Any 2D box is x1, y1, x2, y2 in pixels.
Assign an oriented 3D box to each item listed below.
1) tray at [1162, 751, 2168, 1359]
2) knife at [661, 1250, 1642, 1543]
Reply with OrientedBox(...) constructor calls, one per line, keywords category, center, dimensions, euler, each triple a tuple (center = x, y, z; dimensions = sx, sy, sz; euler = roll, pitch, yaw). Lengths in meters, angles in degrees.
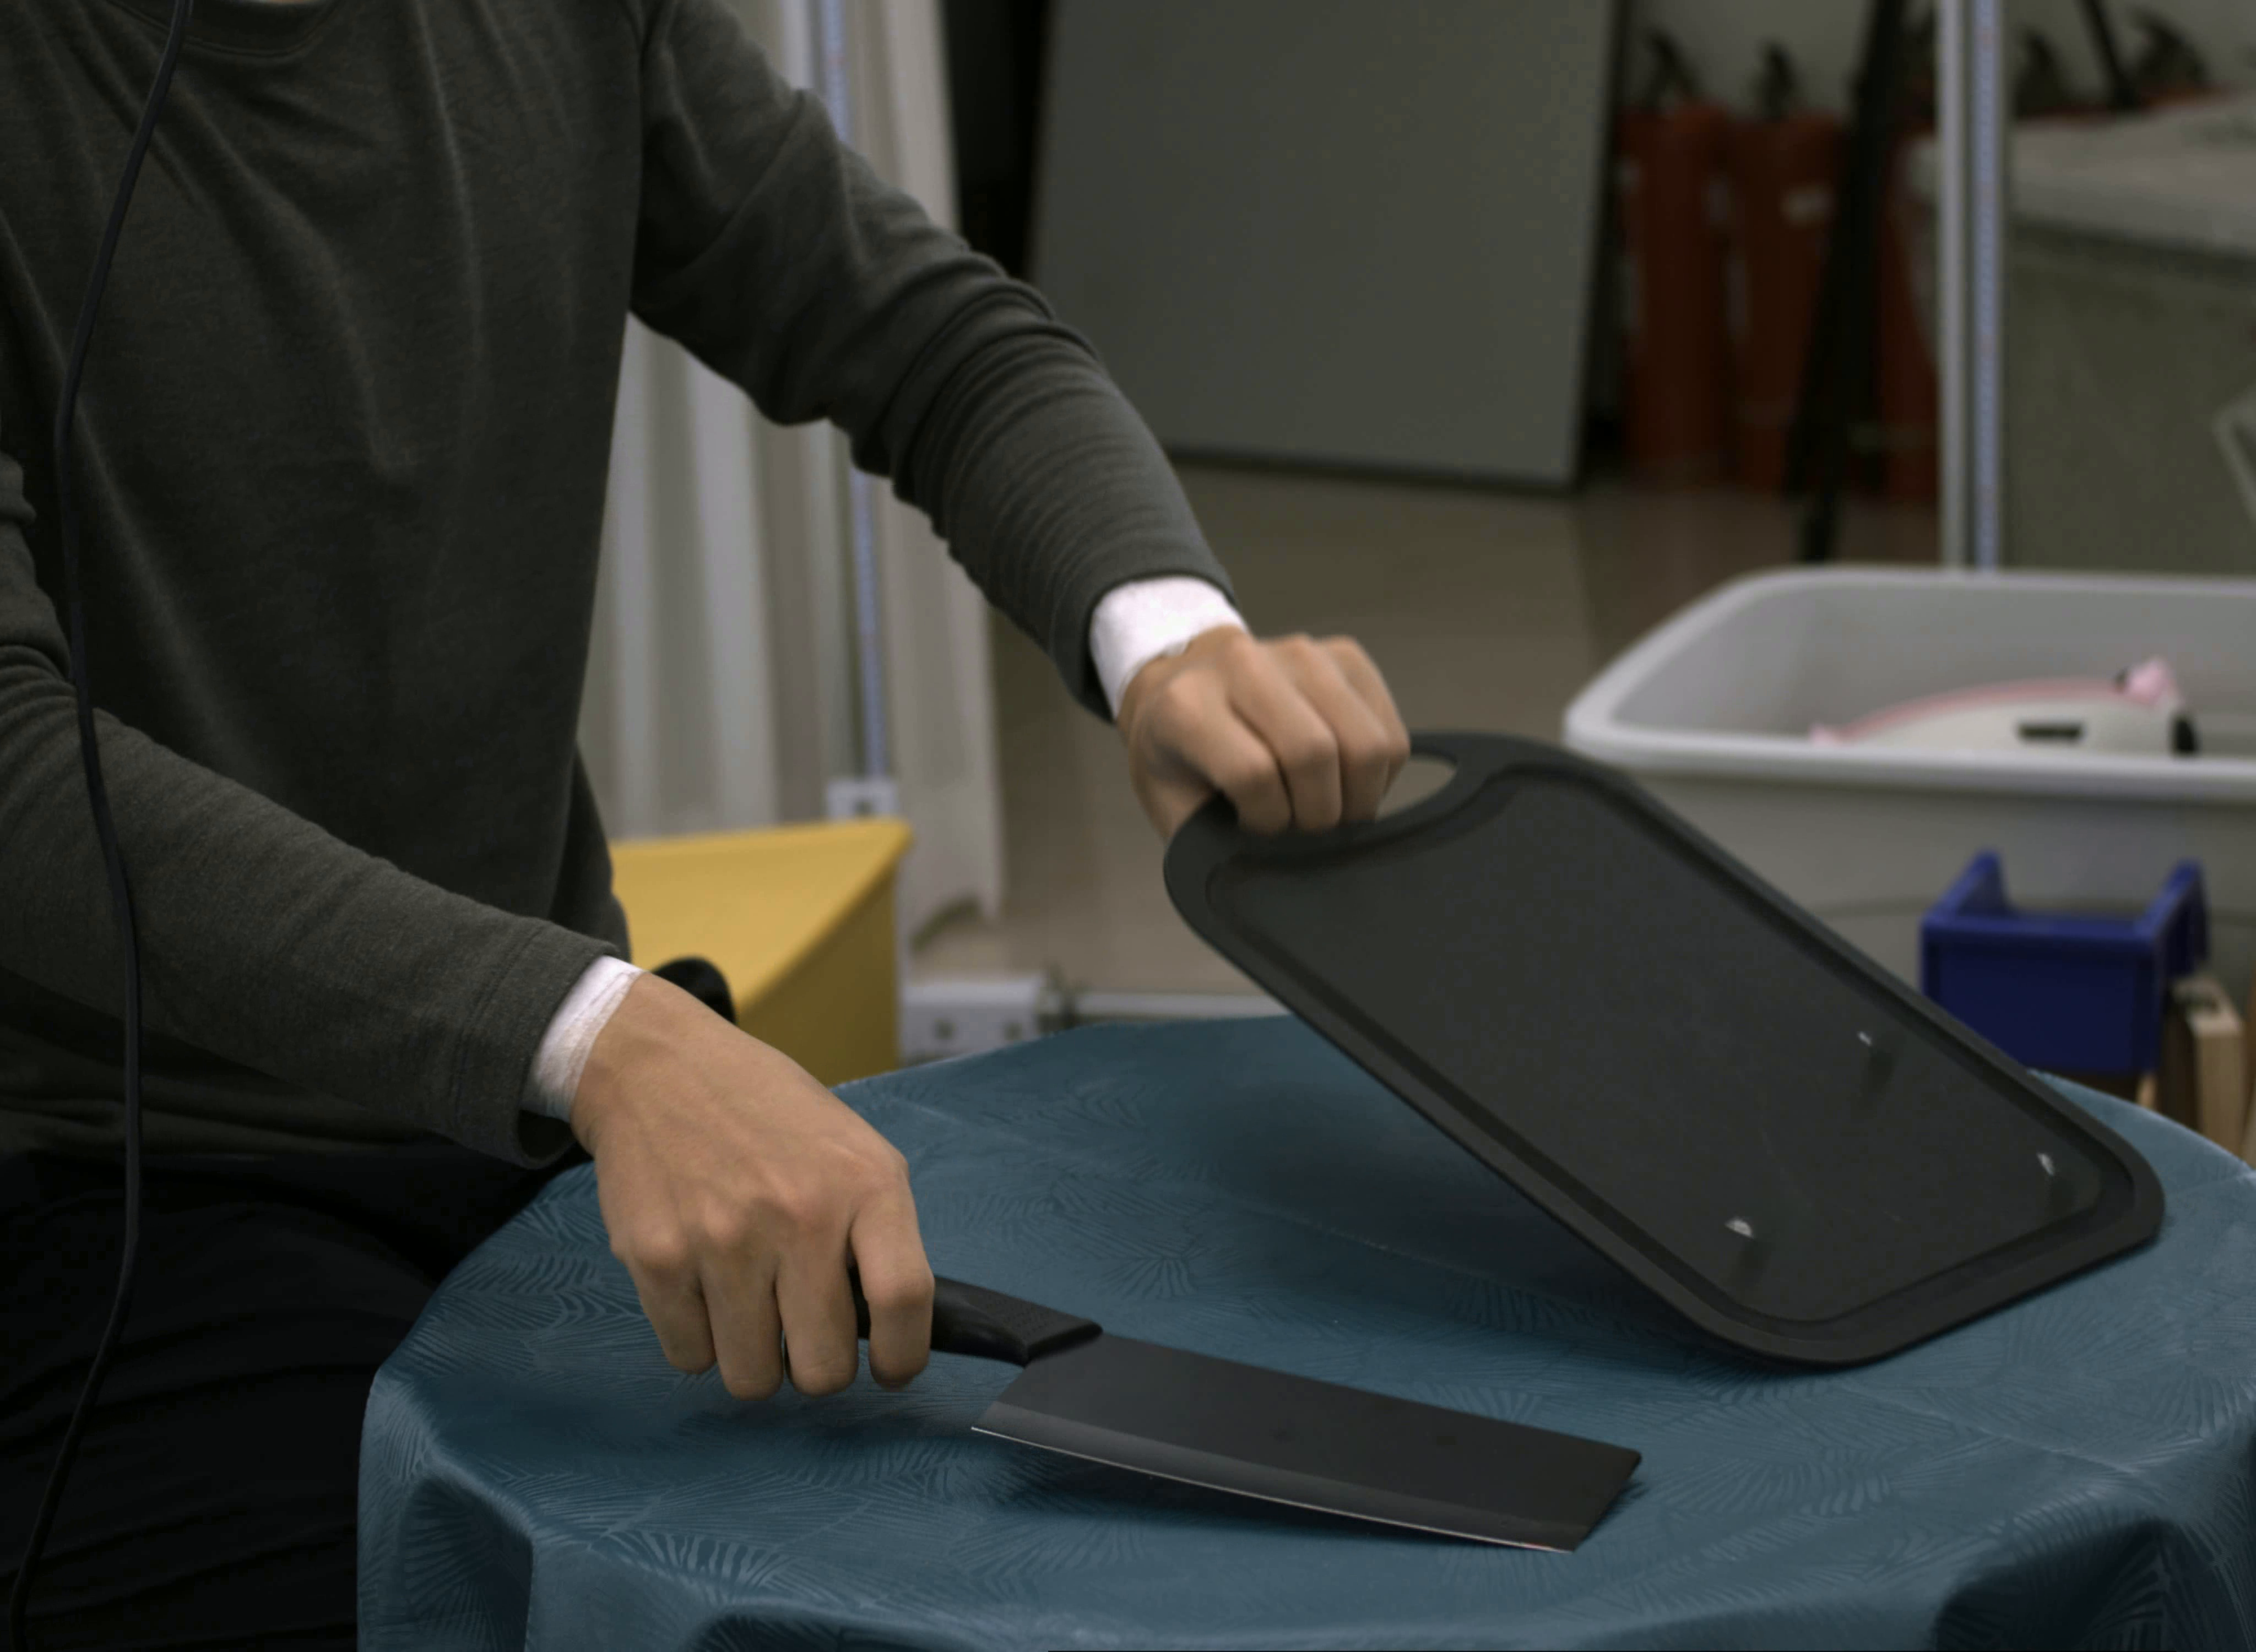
OrientedBox(category="tray", center=(0.161, 0.061, 1.699), dimensions=(0.206, 0.010, 0.329), euler=(-15, 40, -40))
OrientedBox(category="knife", center=(-0.001, 0.161, 1.527), dimensions=(0.303, 0.021, 0.080), euler=(11, 24, 29))
